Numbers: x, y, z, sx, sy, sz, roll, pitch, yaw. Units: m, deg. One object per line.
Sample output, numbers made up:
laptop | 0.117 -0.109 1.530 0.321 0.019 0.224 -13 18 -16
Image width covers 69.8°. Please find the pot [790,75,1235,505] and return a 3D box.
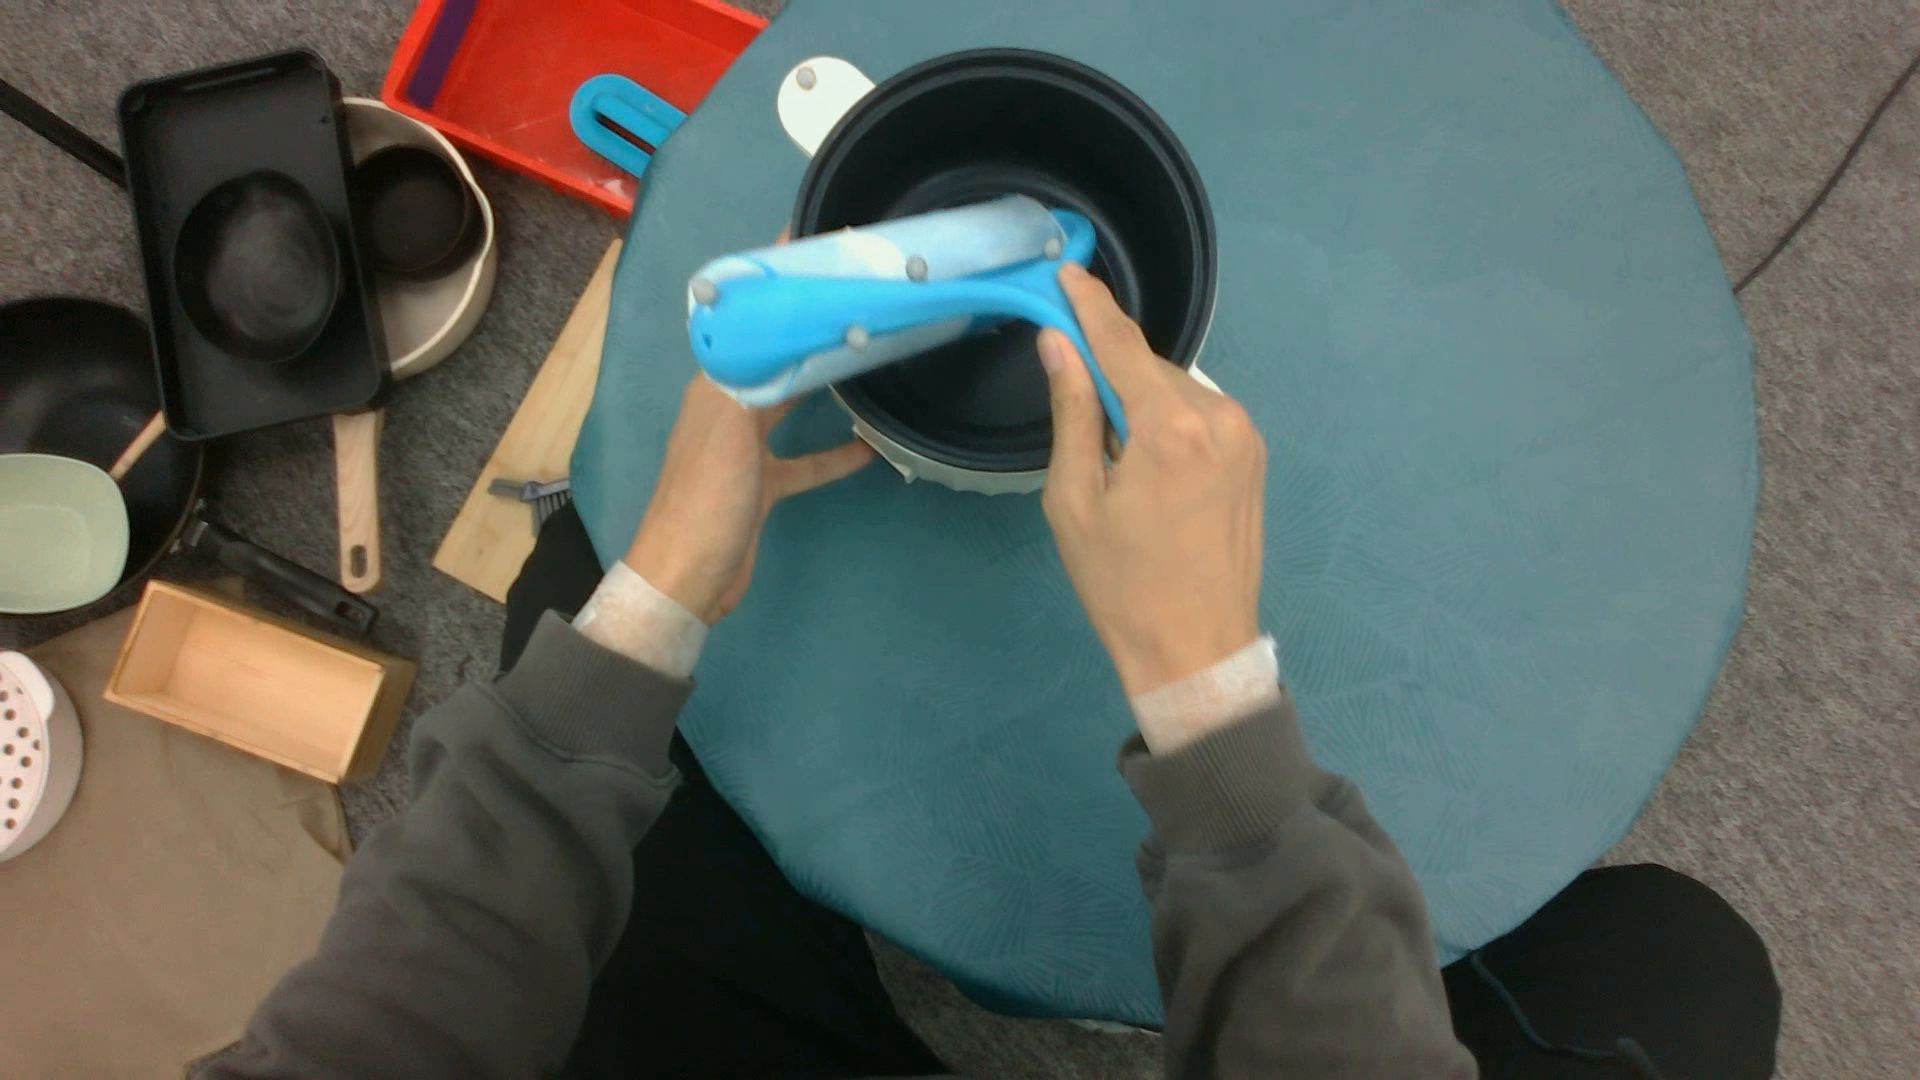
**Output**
pot | 0.025 -0.112 0.657 0.240 0.142 0.190 41 88 3

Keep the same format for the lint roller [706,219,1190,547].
lint roller | 0.027 -0.069 0.566 0.180 0.230 0.067 32 122 19
